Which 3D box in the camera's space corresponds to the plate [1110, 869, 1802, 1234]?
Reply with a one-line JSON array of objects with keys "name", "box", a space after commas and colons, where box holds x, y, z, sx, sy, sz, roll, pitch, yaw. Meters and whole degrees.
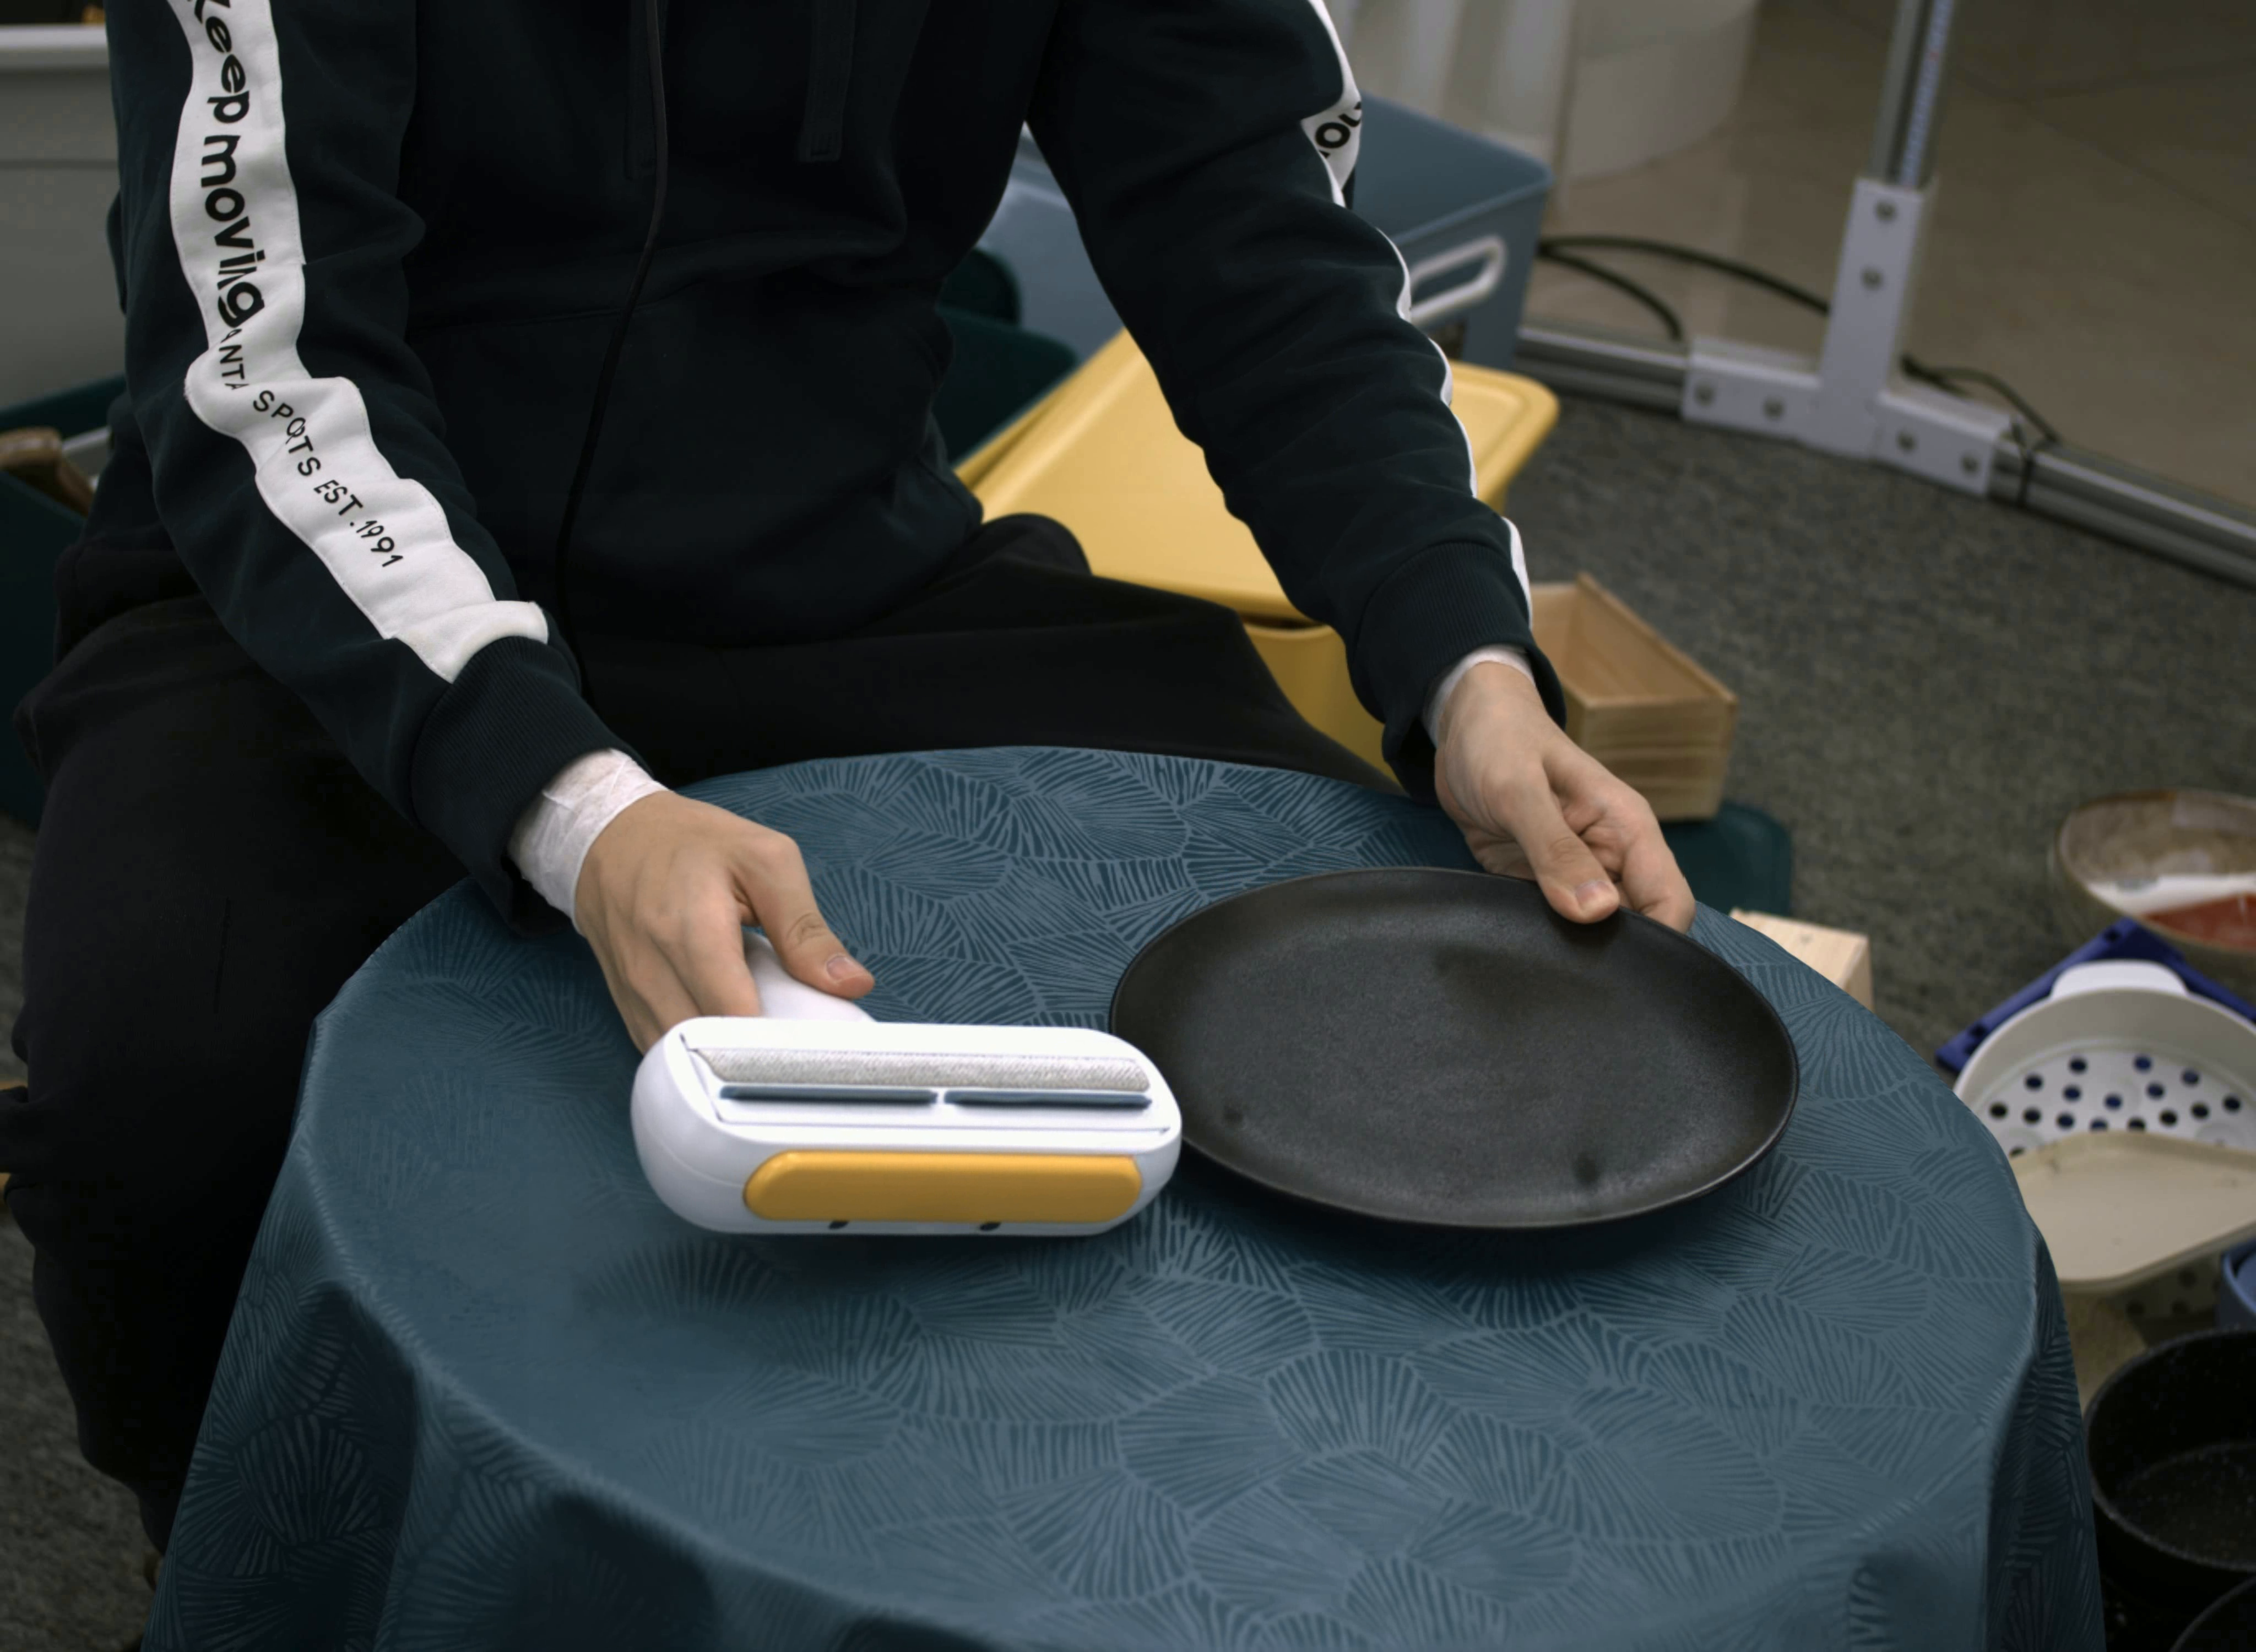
[{"name": "plate", "box": [0.114, 0.083, 1.865, 0.243, 0.023, 0.246, 3, 28, -2]}]

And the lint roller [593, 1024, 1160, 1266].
[{"name": "lint roller", "box": [-0.104, 0.092, 1.792, 0.191, 0.074, 0.194, 3, 17, -24]}]
